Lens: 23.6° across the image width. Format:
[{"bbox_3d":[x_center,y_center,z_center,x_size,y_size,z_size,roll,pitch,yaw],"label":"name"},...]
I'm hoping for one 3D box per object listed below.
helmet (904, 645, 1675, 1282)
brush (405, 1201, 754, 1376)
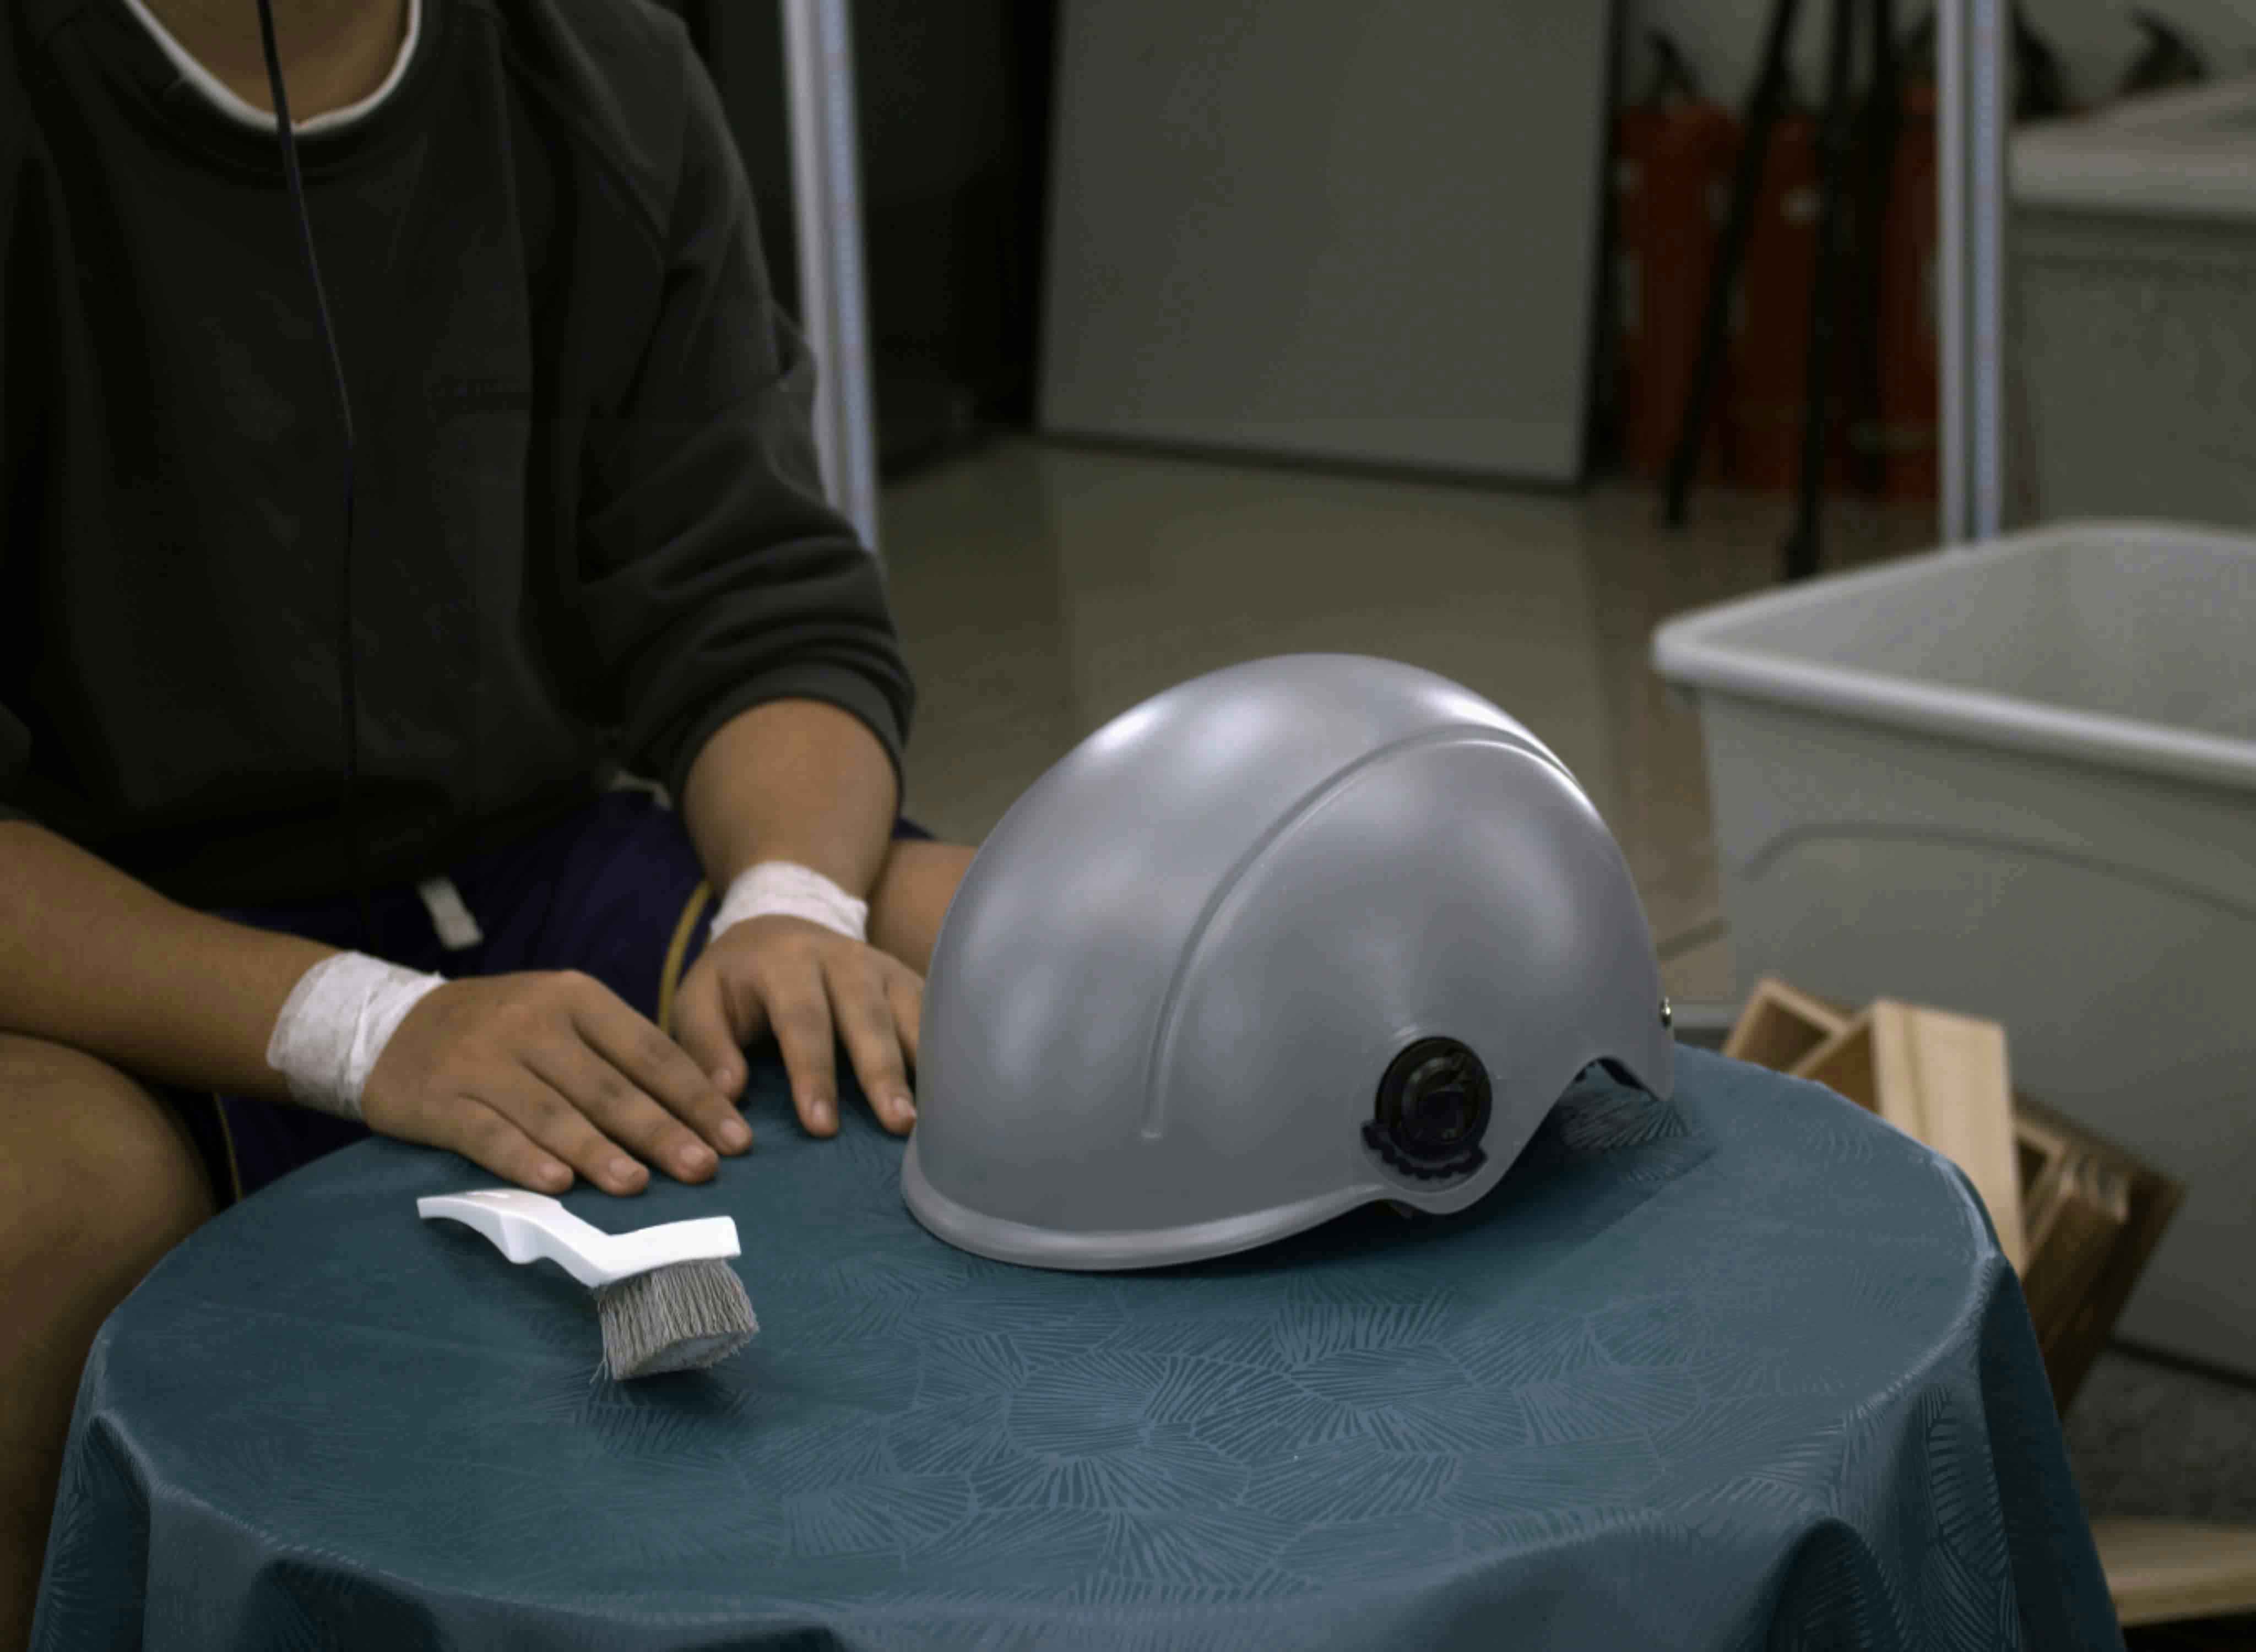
[{"bbox_3d":[0.047,0.031,1.777,0.270,0.170,0.234,-18,19,-39],"label":"helmet"},{"bbox_3d":[-0.174,0.143,1.683,0.033,0.051,0.246,-6,0,-26],"label":"brush"}]
